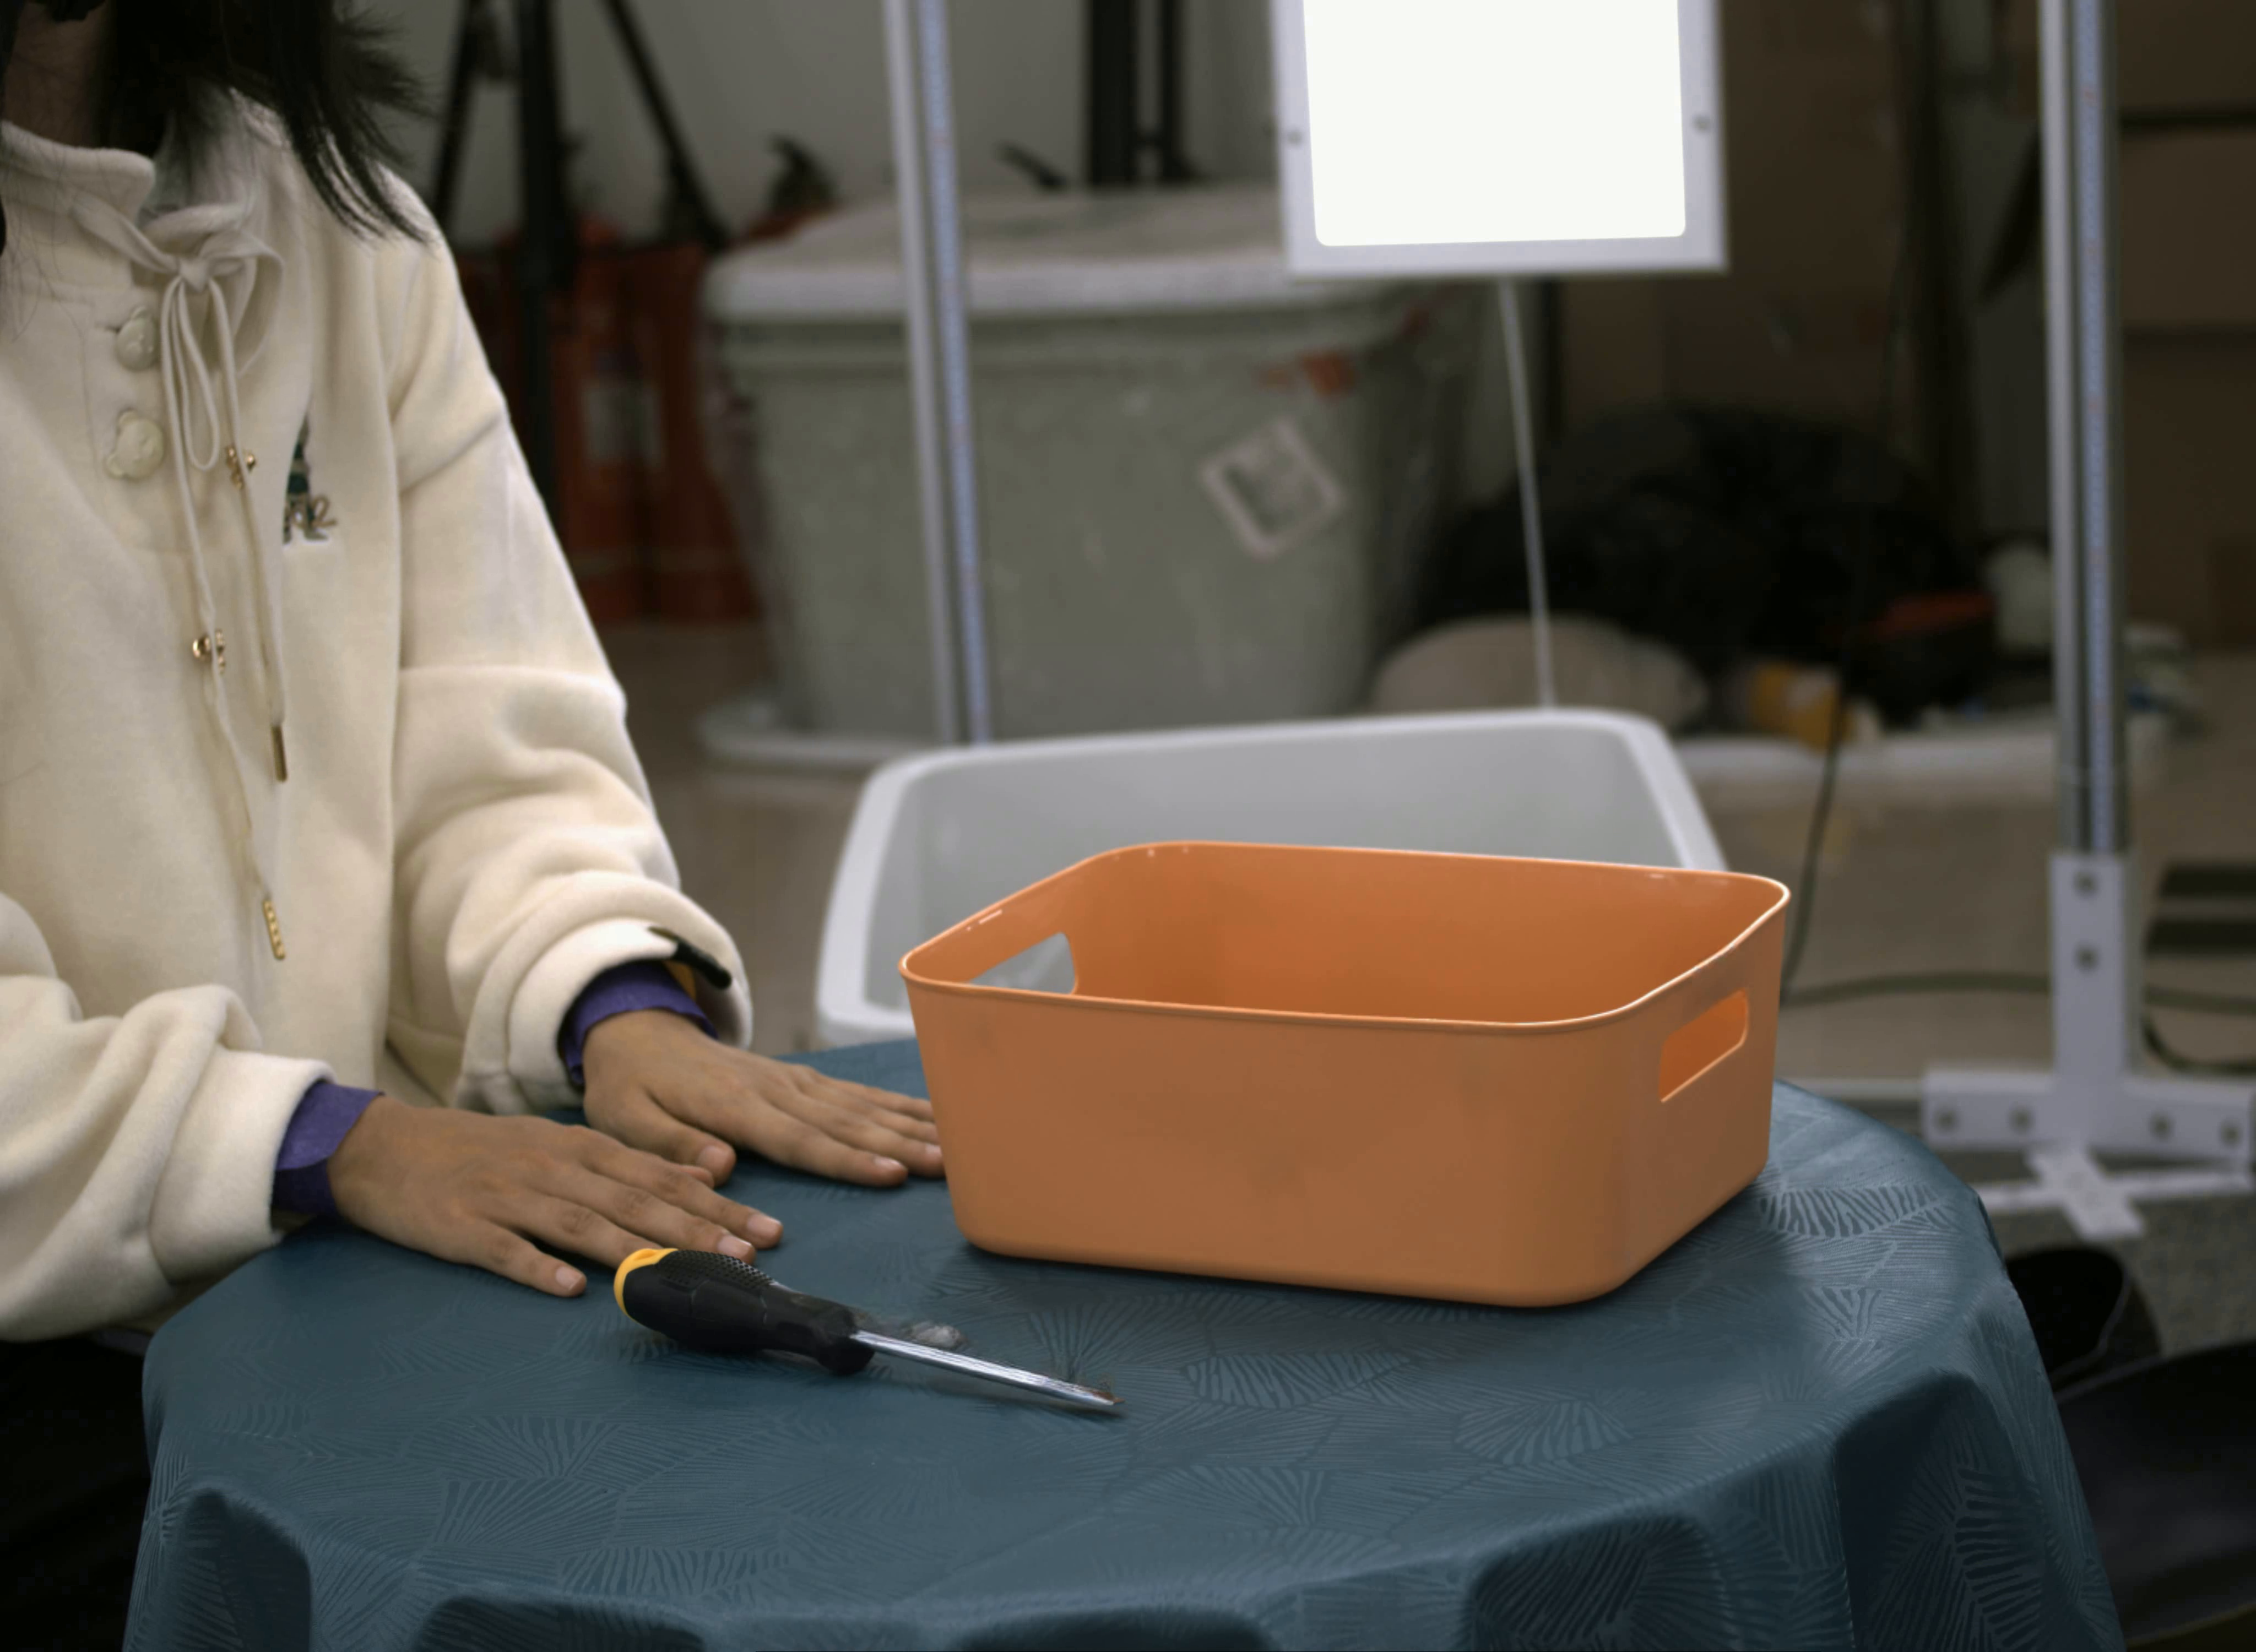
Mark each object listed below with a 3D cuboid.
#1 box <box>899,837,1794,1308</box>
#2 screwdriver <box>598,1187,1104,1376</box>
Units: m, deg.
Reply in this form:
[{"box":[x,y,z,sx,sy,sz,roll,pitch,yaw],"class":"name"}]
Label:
[{"box":[0.077,0.080,1.842,0.278,0.103,0.195,3,17,30],"class":"box"},{"box":[-0.087,0.148,1.747,0.201,0.031,0.031,14,21,31],"class":"screwdriver"}]
